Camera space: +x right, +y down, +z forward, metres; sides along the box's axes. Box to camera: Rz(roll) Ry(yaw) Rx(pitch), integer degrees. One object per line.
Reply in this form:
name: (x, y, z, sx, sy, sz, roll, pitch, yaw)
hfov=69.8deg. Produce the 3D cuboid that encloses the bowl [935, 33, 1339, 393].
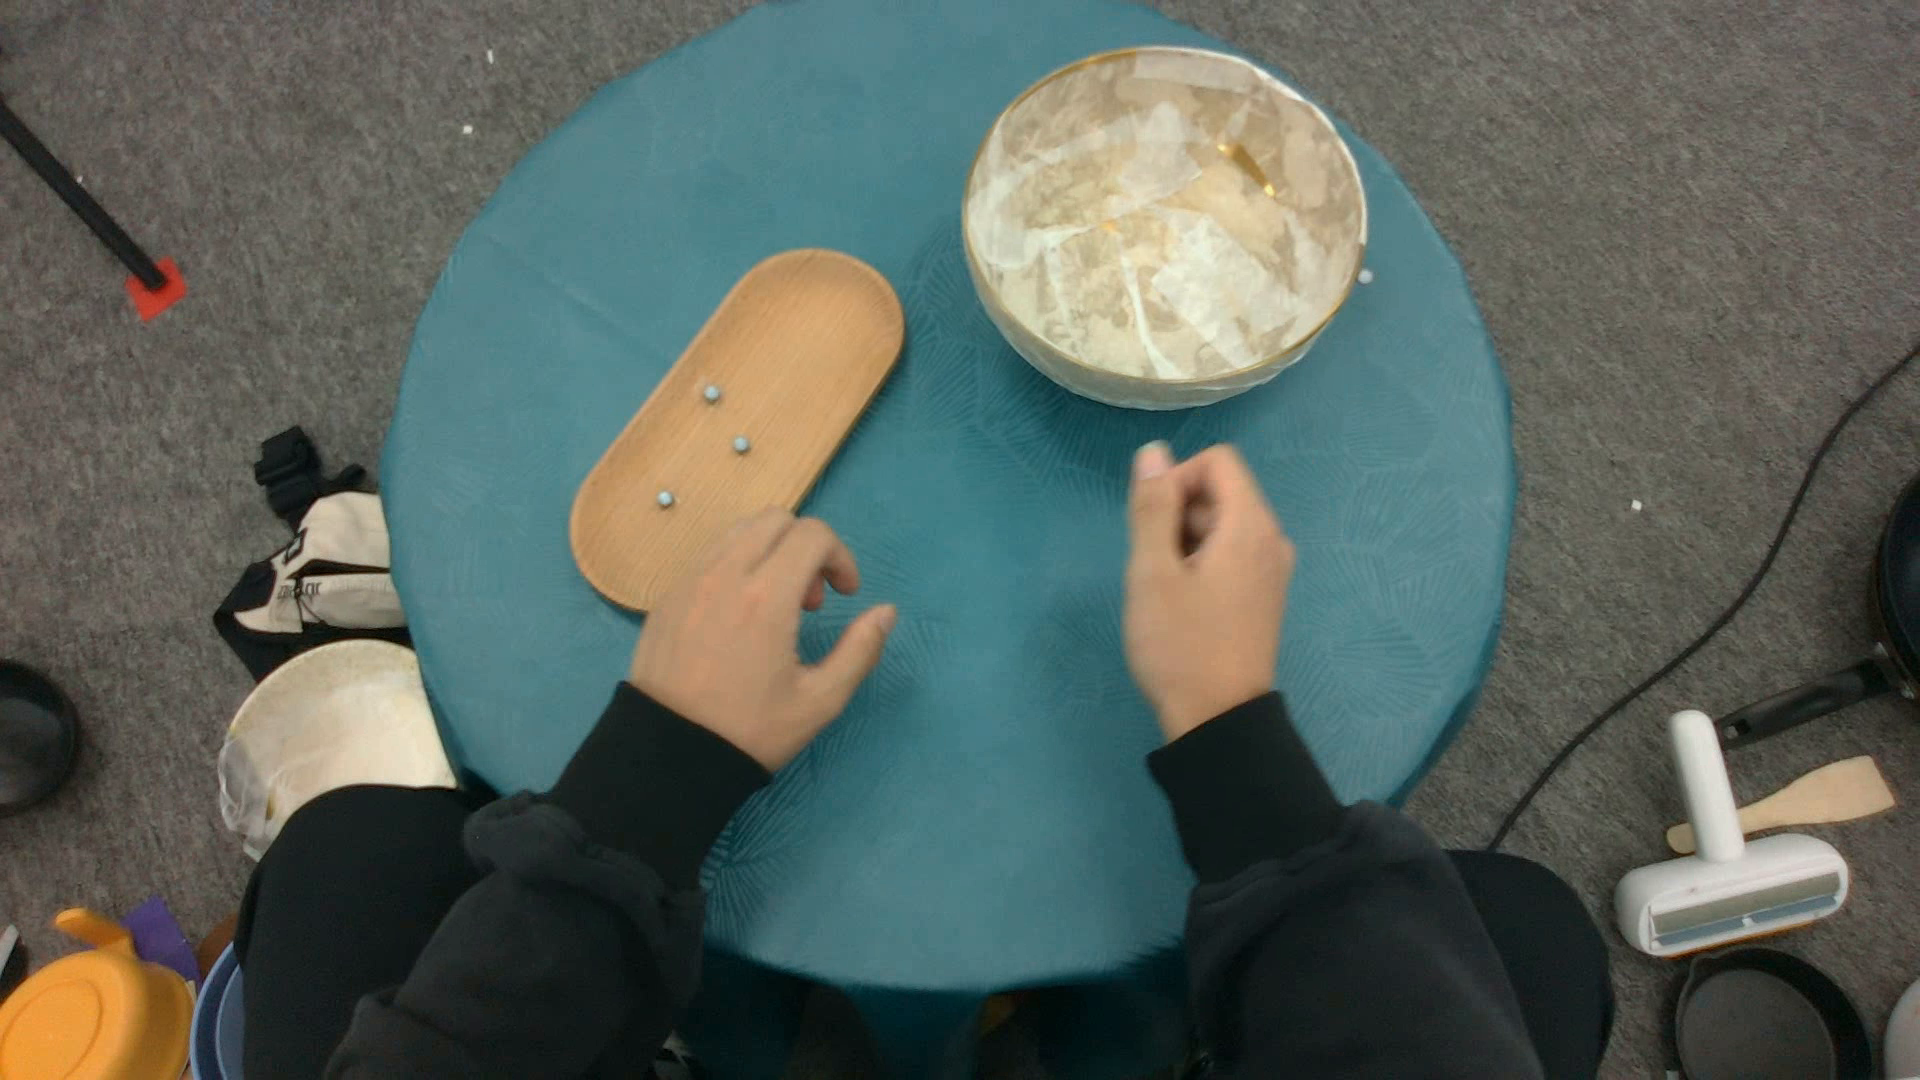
bowl: (0.084, -0.157, 0.727, 0.215, 0.094, 0.215, 1, 67, -3)

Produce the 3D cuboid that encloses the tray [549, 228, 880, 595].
tray: (-0.126, -0.072, 0.727, 0.101, 0.020, 0.232, 28, 67, 7)
